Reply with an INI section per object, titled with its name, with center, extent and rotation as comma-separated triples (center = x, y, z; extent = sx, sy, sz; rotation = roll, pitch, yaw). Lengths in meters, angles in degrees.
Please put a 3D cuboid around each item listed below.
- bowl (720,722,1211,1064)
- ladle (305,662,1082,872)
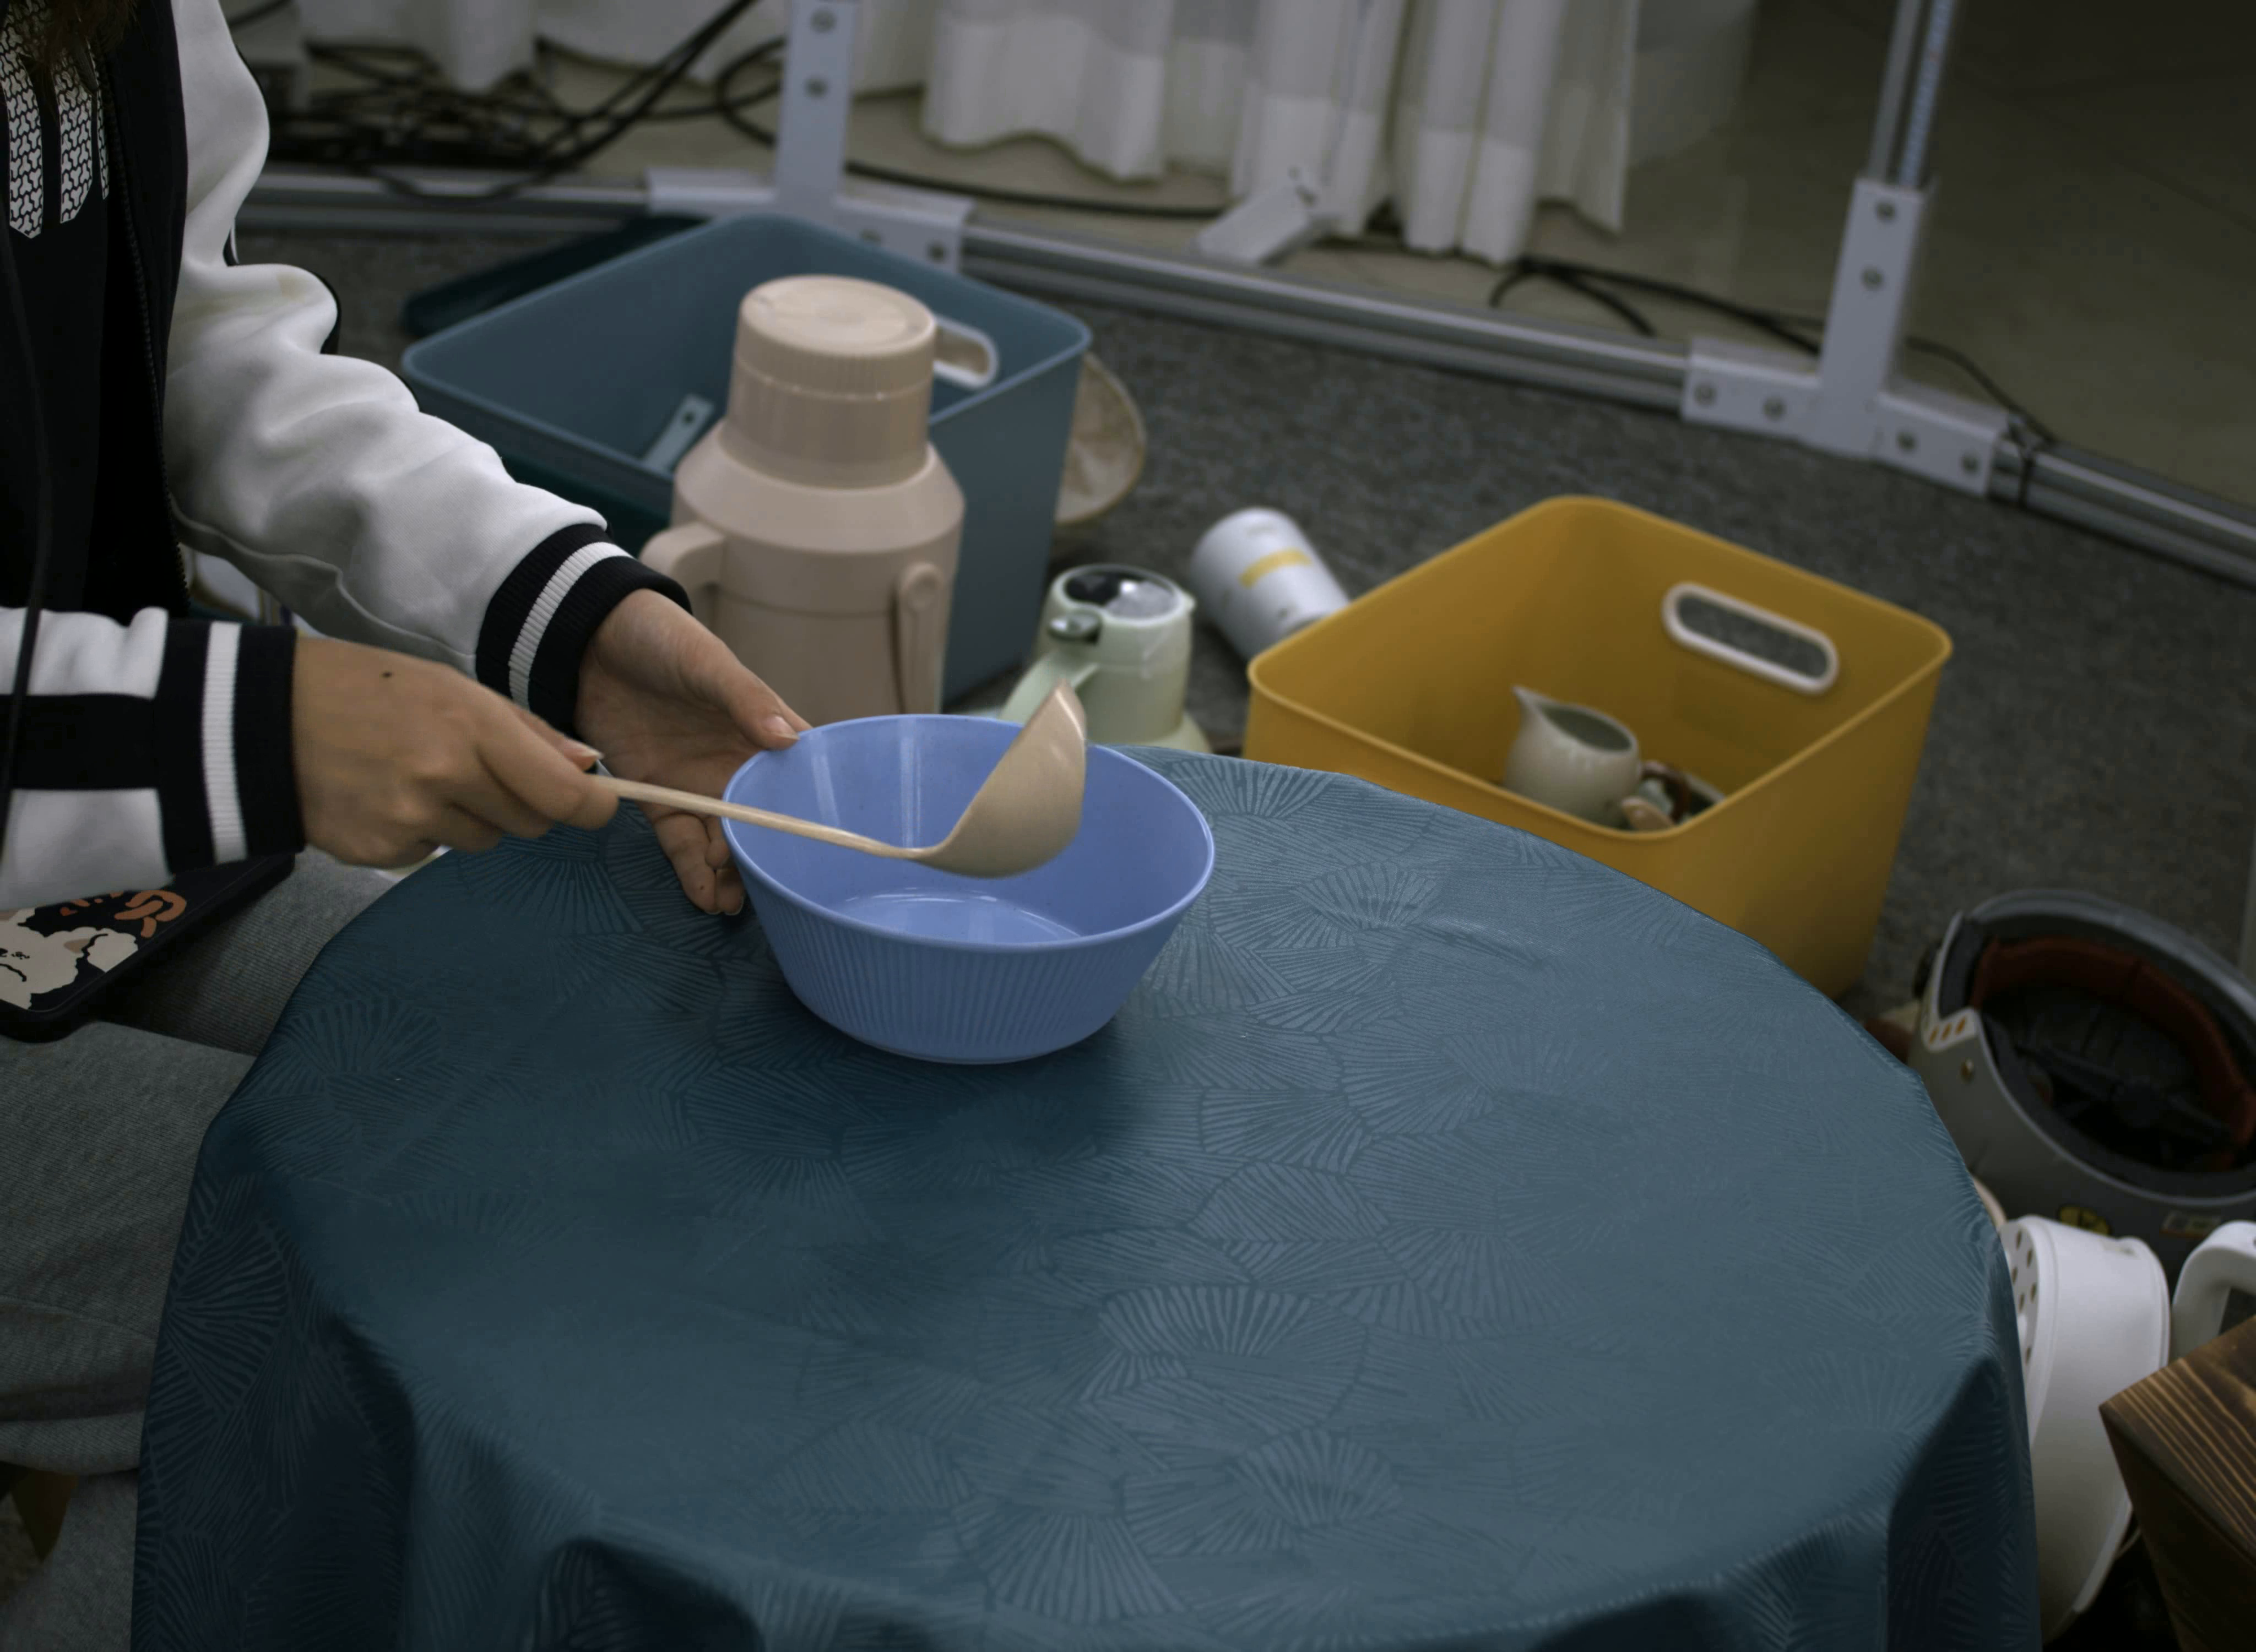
[bowl]
center = -0.061, 0.029, 1.897
extent = 0.175, 0.070, 0.177
rotation = 6, 26, -3
[ladle]
center = -0.141, -0.034, 1.756
extent = 0.253, 0.073, 0.072
rotation = 8, -1, -3
